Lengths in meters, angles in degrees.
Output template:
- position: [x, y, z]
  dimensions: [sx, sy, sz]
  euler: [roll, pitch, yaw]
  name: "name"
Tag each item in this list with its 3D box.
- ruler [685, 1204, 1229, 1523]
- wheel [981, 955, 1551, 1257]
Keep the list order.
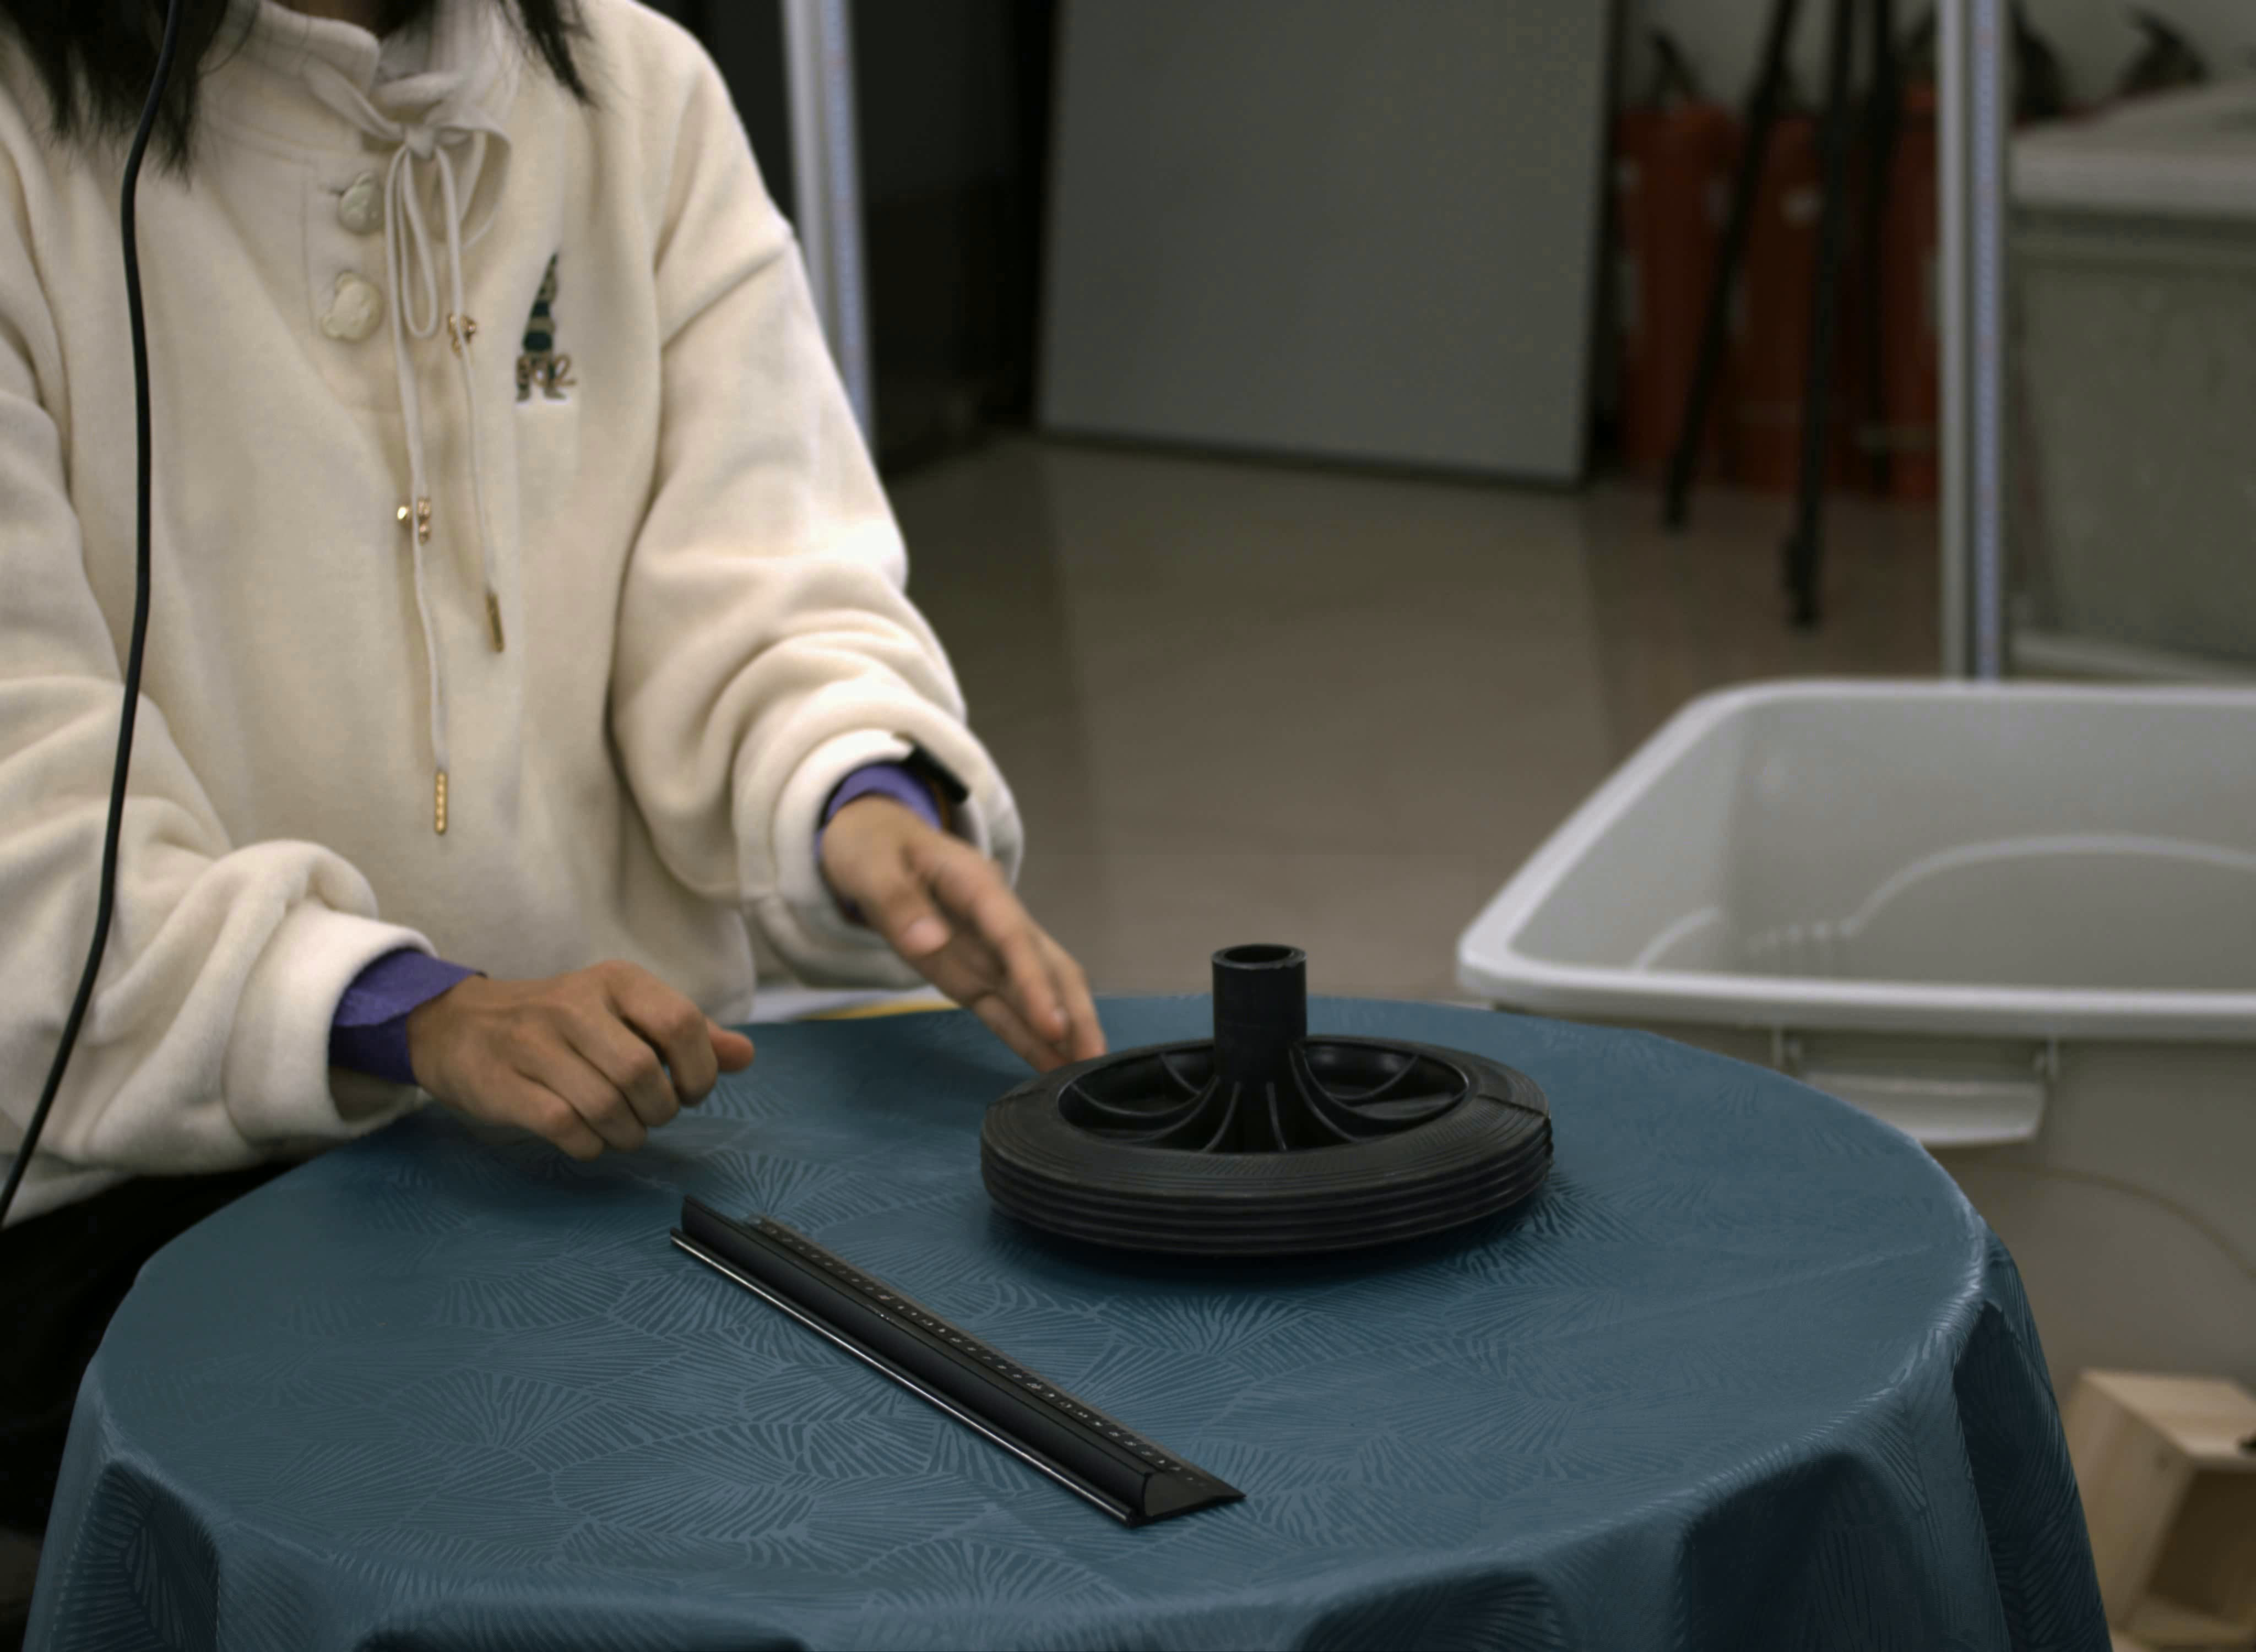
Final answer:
- position: [-0.057, 0.155, 1.618]
  dimensions: [0.038, 0.017, 0.316]
  euler: [-7, 13, -26]
  name: "ruler"
- position: [0.044, 0.084, 1.747]
  dimensions: [0.186, 0.080, 0.189]
  euler: [-13, 15, -39]
  name: "wheel"
